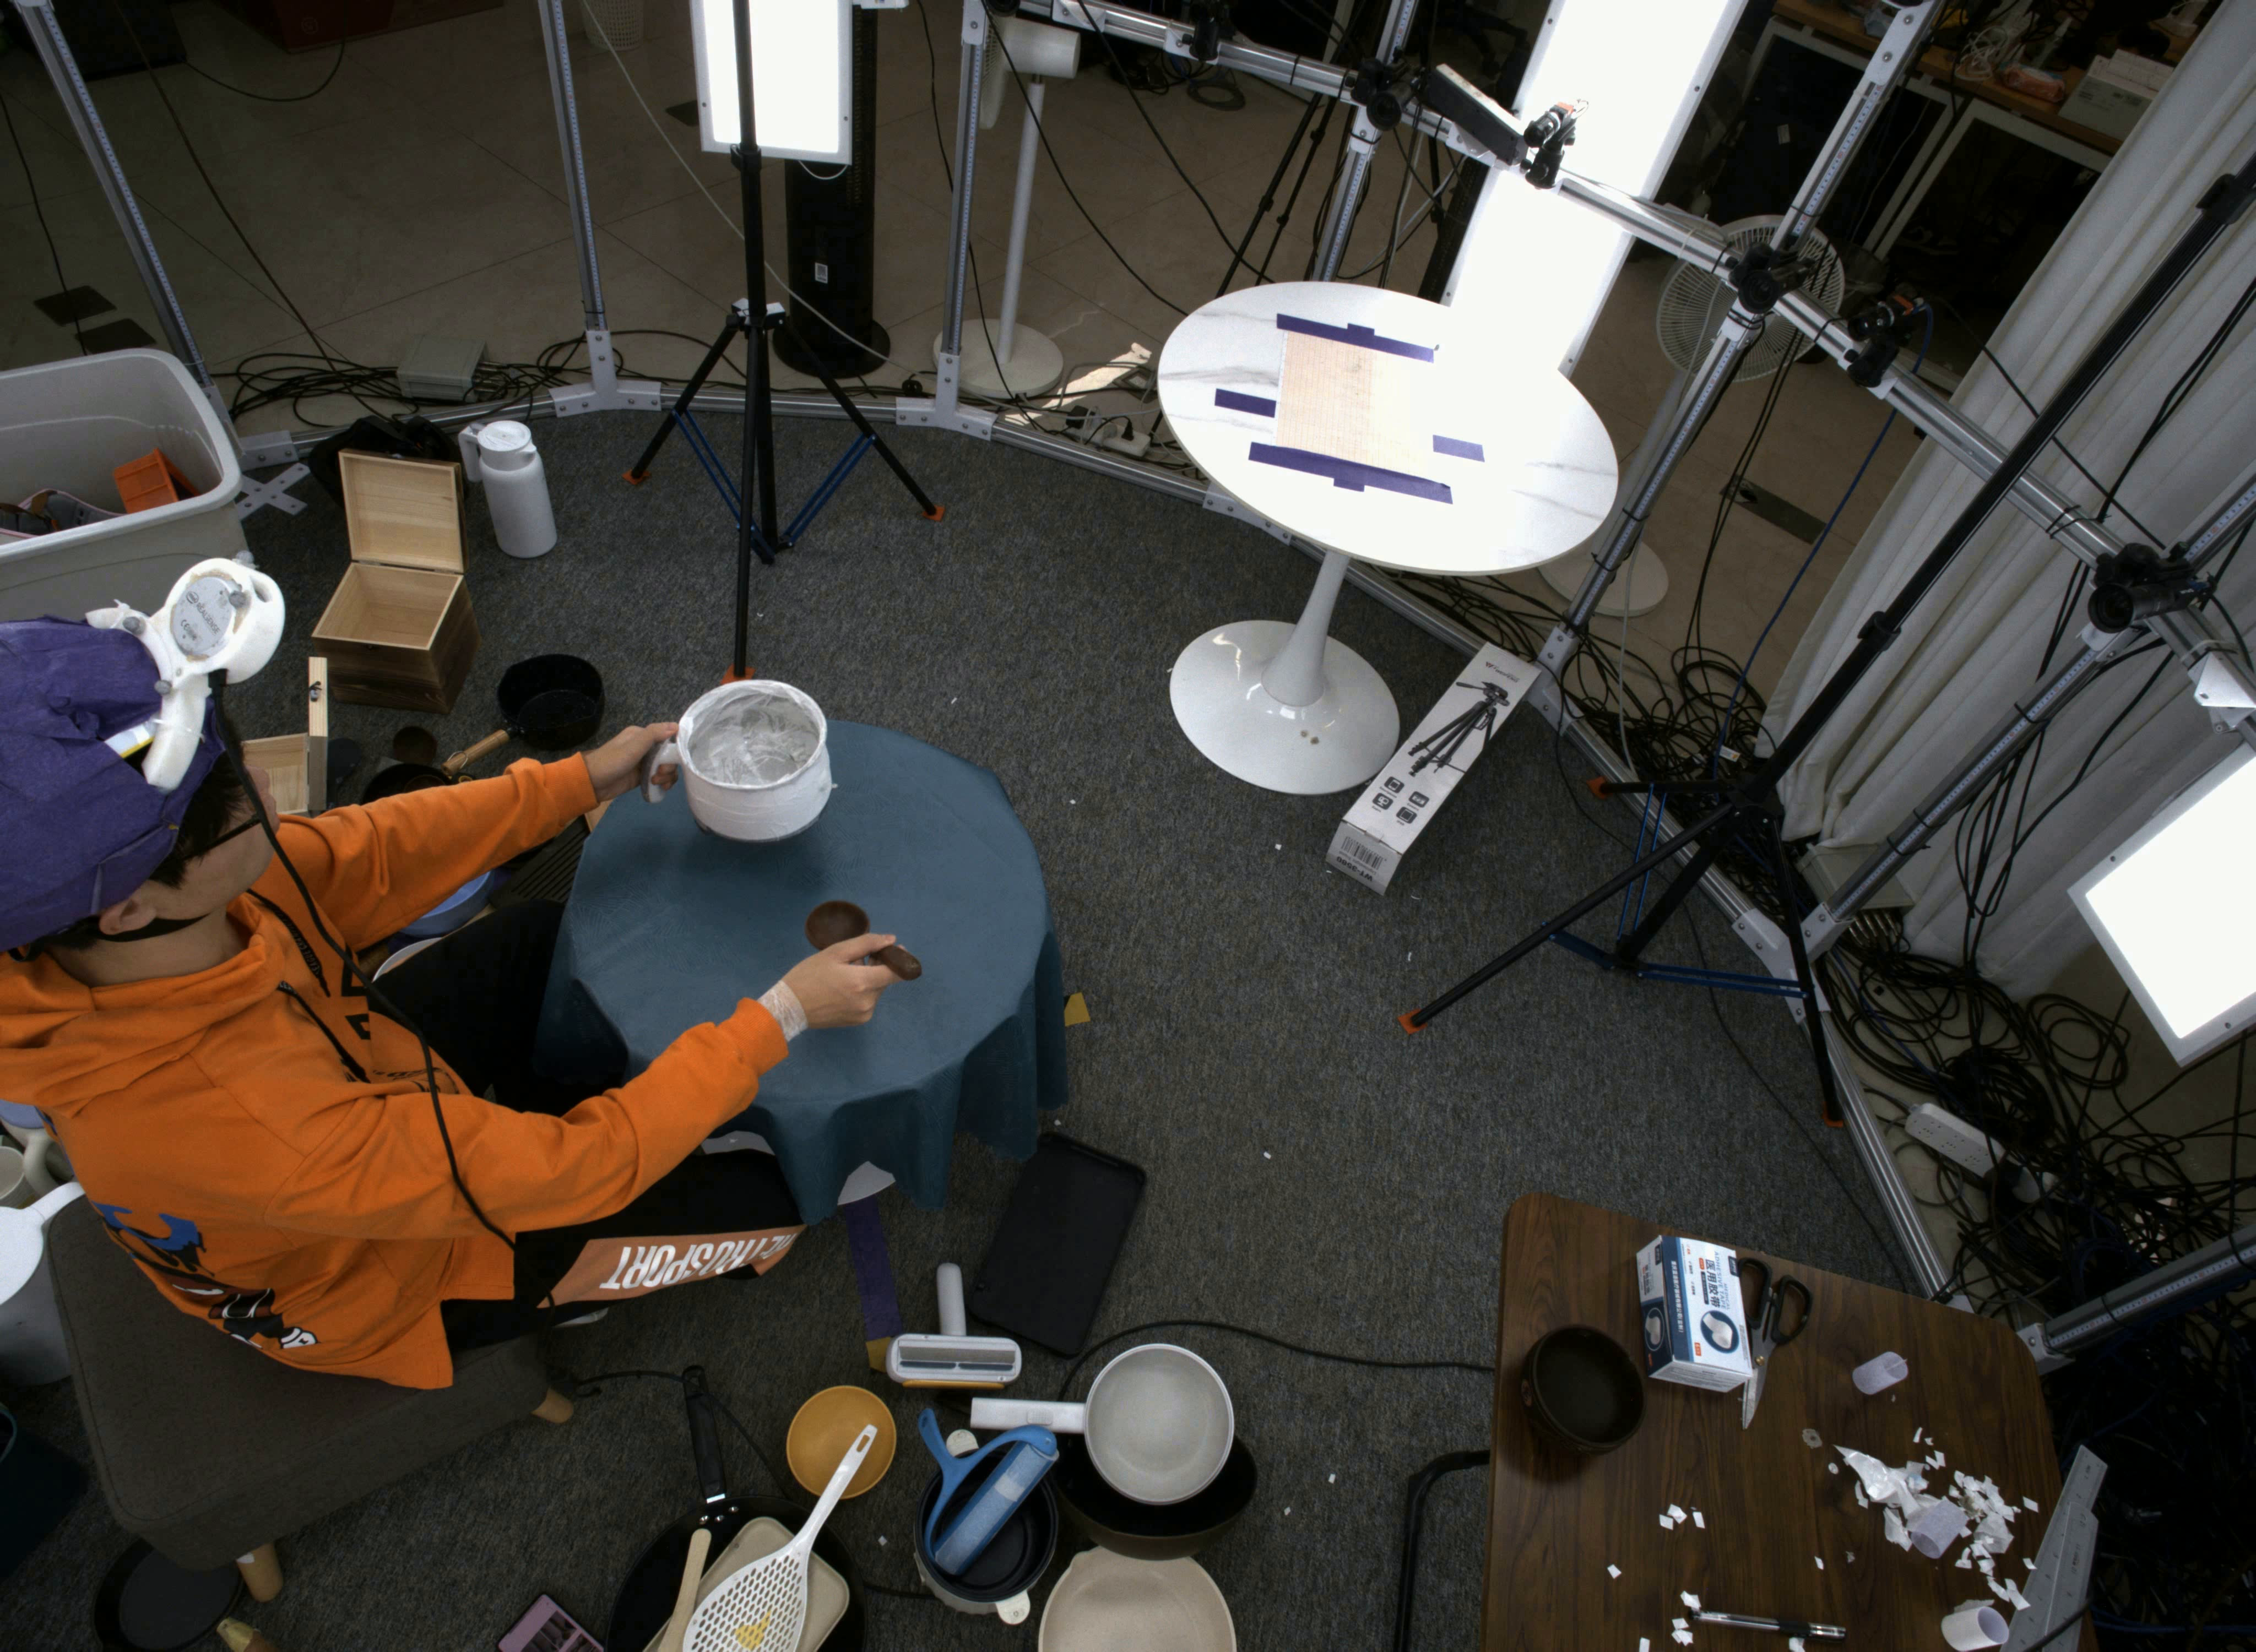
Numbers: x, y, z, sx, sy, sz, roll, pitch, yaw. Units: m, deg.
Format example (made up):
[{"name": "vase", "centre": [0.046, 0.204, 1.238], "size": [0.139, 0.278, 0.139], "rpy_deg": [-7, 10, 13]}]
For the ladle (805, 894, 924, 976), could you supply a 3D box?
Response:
[{"name": "ladle", "centre": [-0.286, 0.116, 1.419], "size": [0.077, 0.253, 0.067], "rpy_deg": [-27, 105, -27]}]

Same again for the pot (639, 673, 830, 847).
[{"name": "pot", "centre": [-0.482, -0.075, 1.569], "size": [0.233, 0.140, 0.174], "rpy_deg": [-3, 52, -12]}]
